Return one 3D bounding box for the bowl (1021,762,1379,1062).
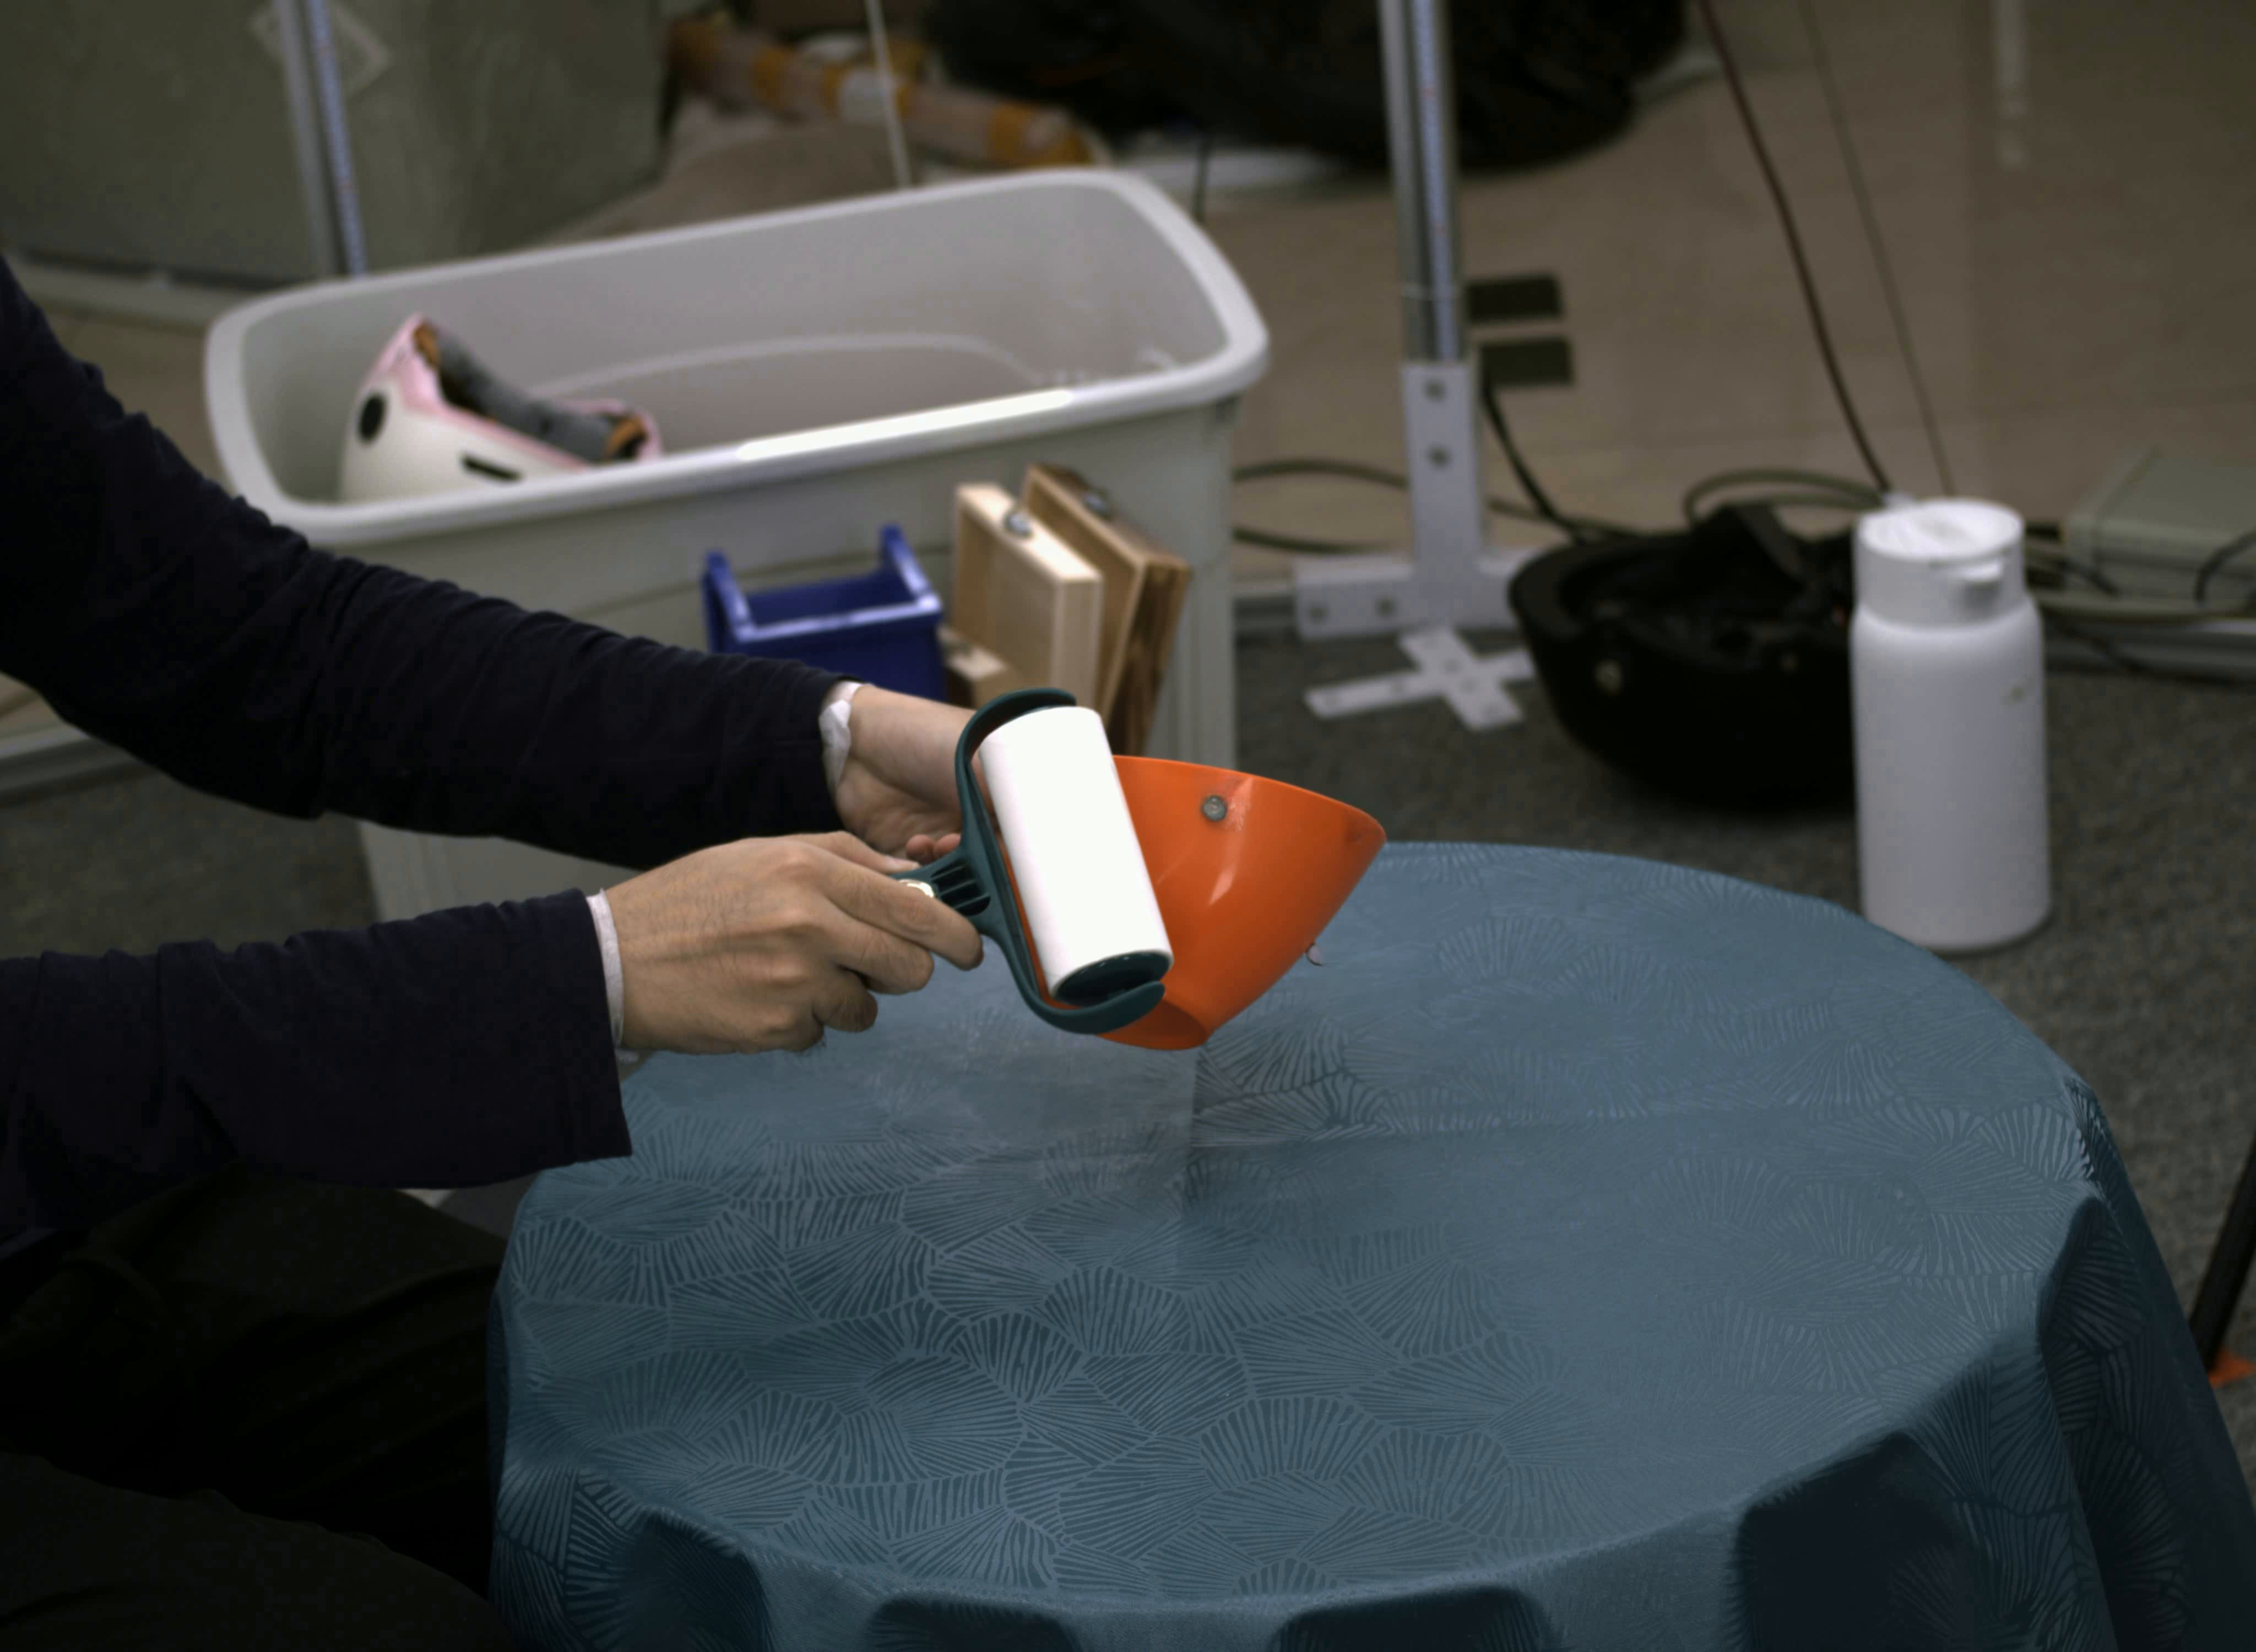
[{"bbox_3d":[0.014,0.034,2.156,0.147,0.150,0.103,5,68,22],"label":"bowl"}]

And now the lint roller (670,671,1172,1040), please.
[{"bbox_3d":[-0.084,0.032,2.066,0.180,0.049,0.133,-17,70,-1],"label":"lint roller"}]
